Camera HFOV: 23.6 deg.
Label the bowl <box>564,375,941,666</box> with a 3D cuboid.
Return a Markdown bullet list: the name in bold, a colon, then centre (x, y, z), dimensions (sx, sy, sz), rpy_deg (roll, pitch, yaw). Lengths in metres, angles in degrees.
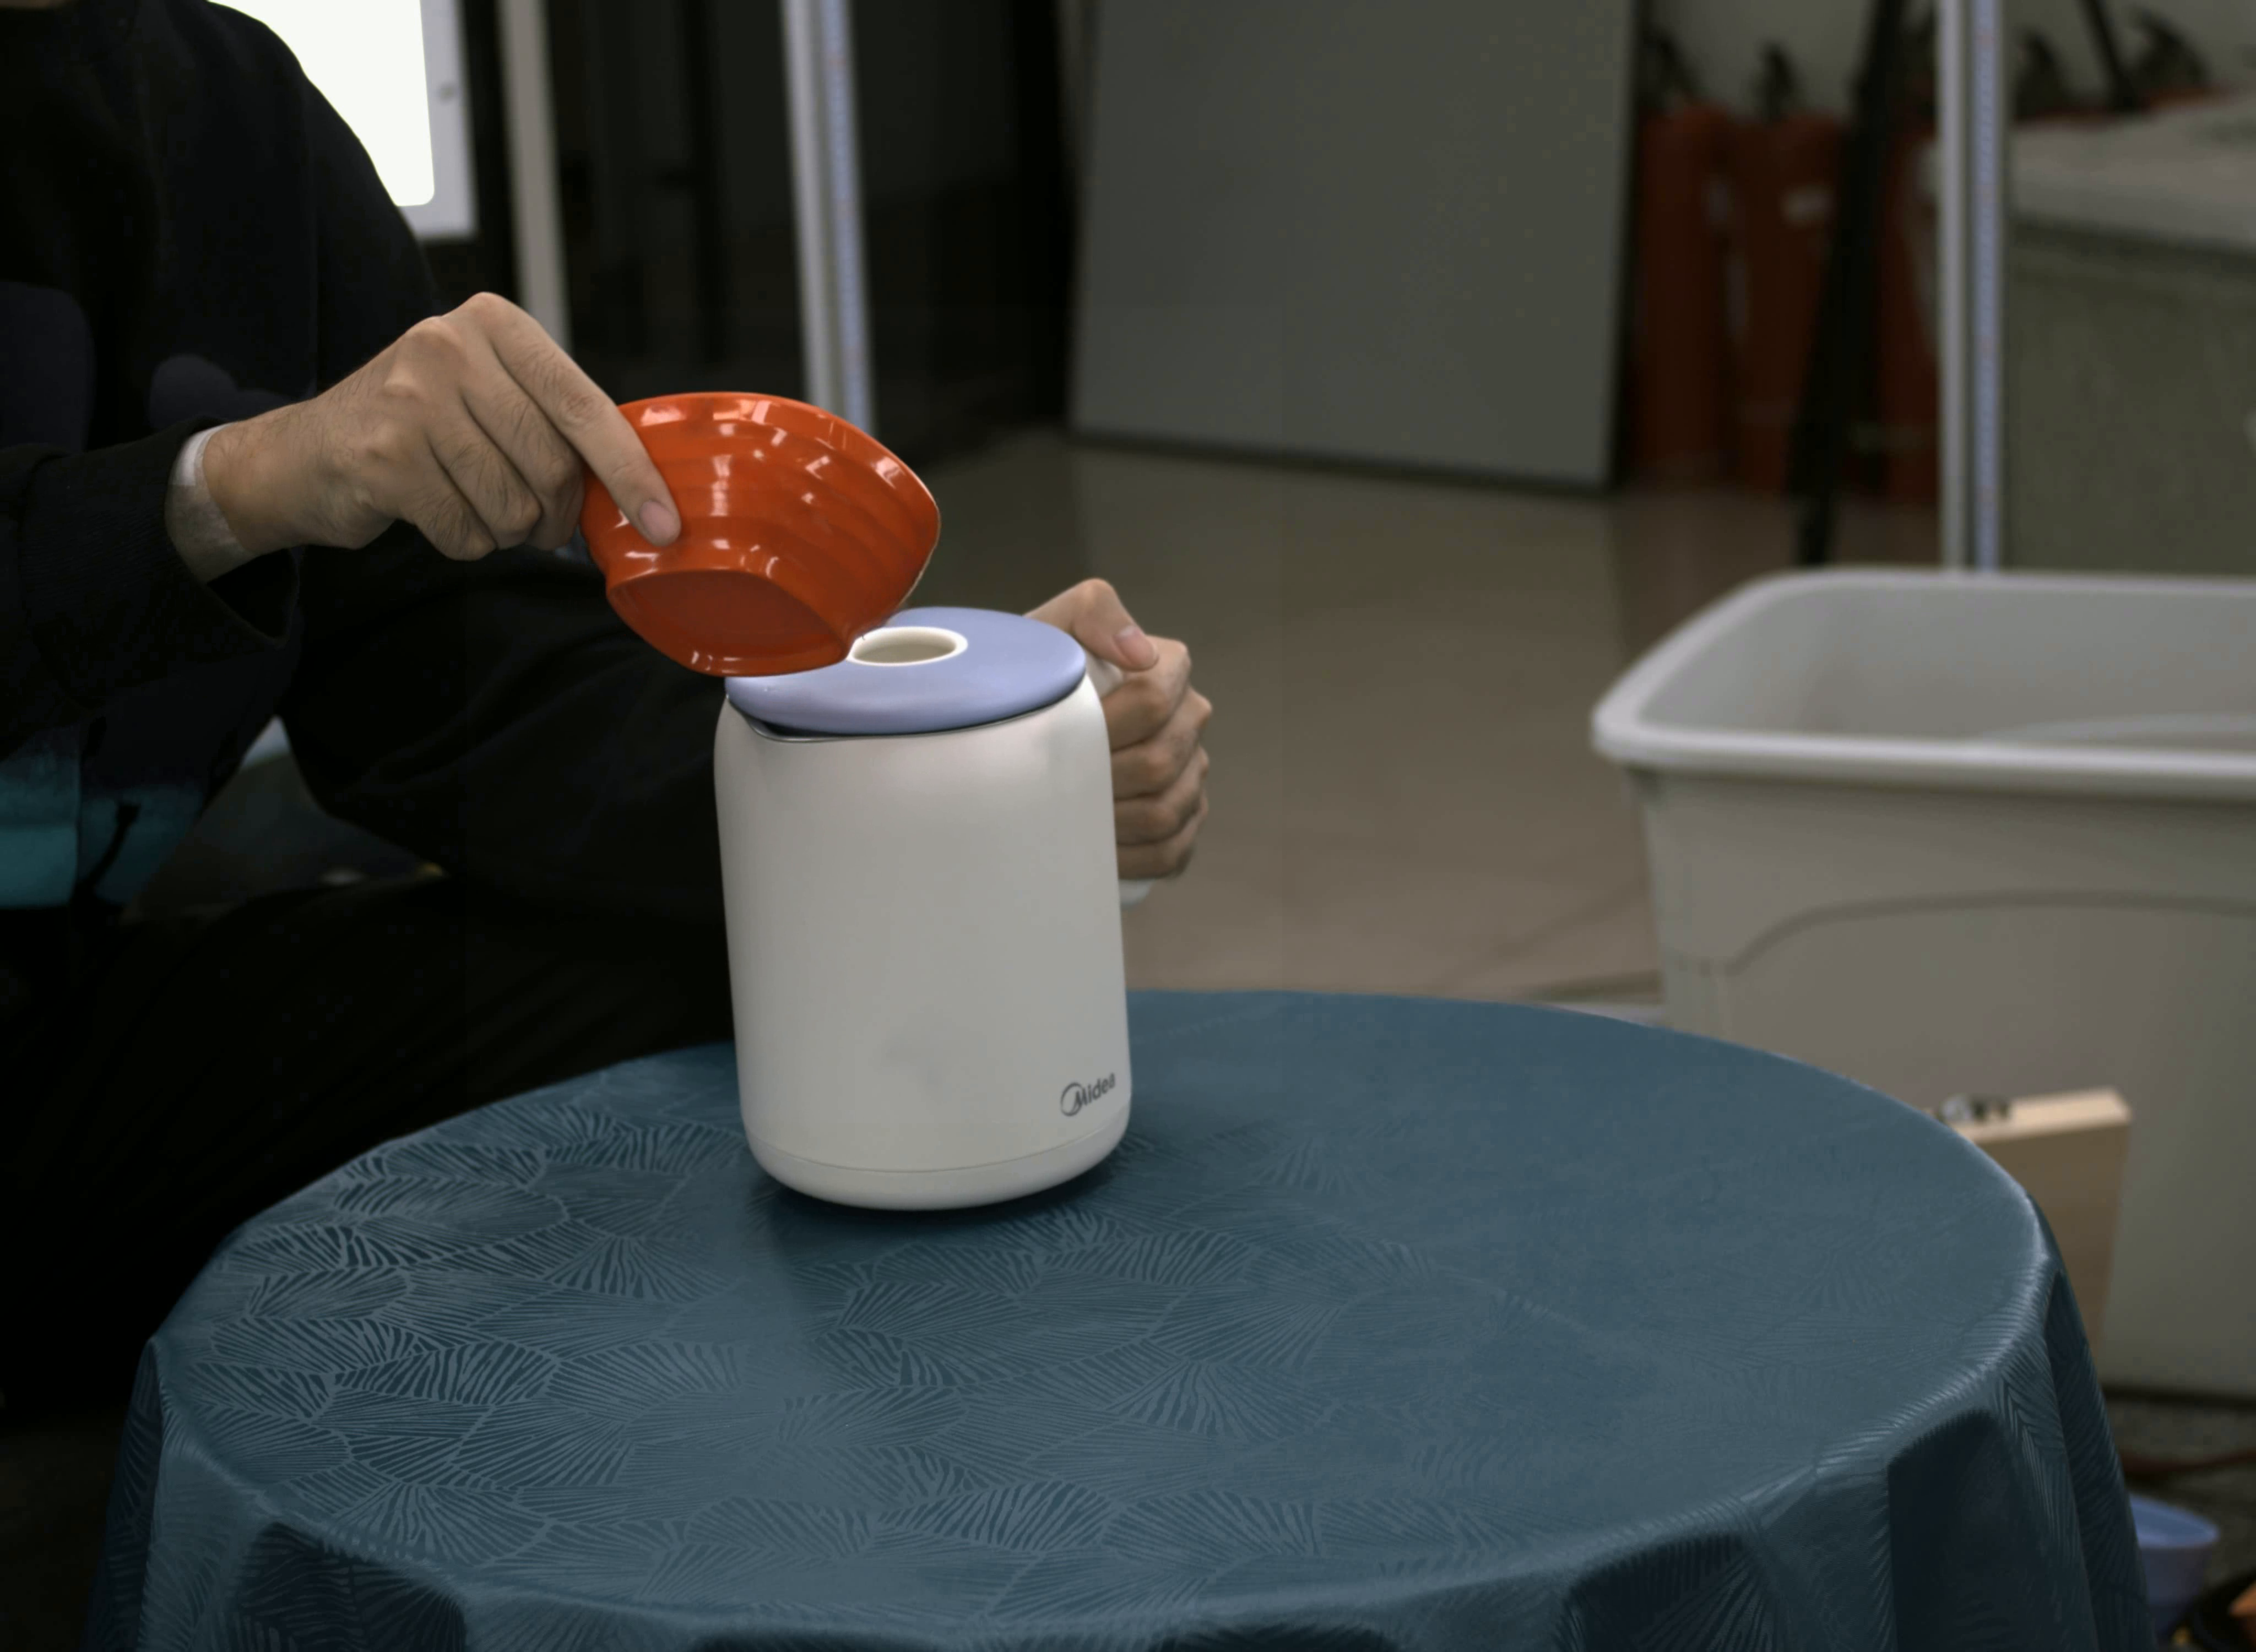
- **bowl**: centre (-0.118, -0.087, 1.648), dimensions (0.117, 0.052, 0.119), rpy_deg (10, -23, 3)

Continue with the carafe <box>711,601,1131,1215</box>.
- **carafe**: centre (-0.055, 0.019, 1.795), dimensions (0.133, 0.184, 0.188), rpy_deg (10, 20, 33)
